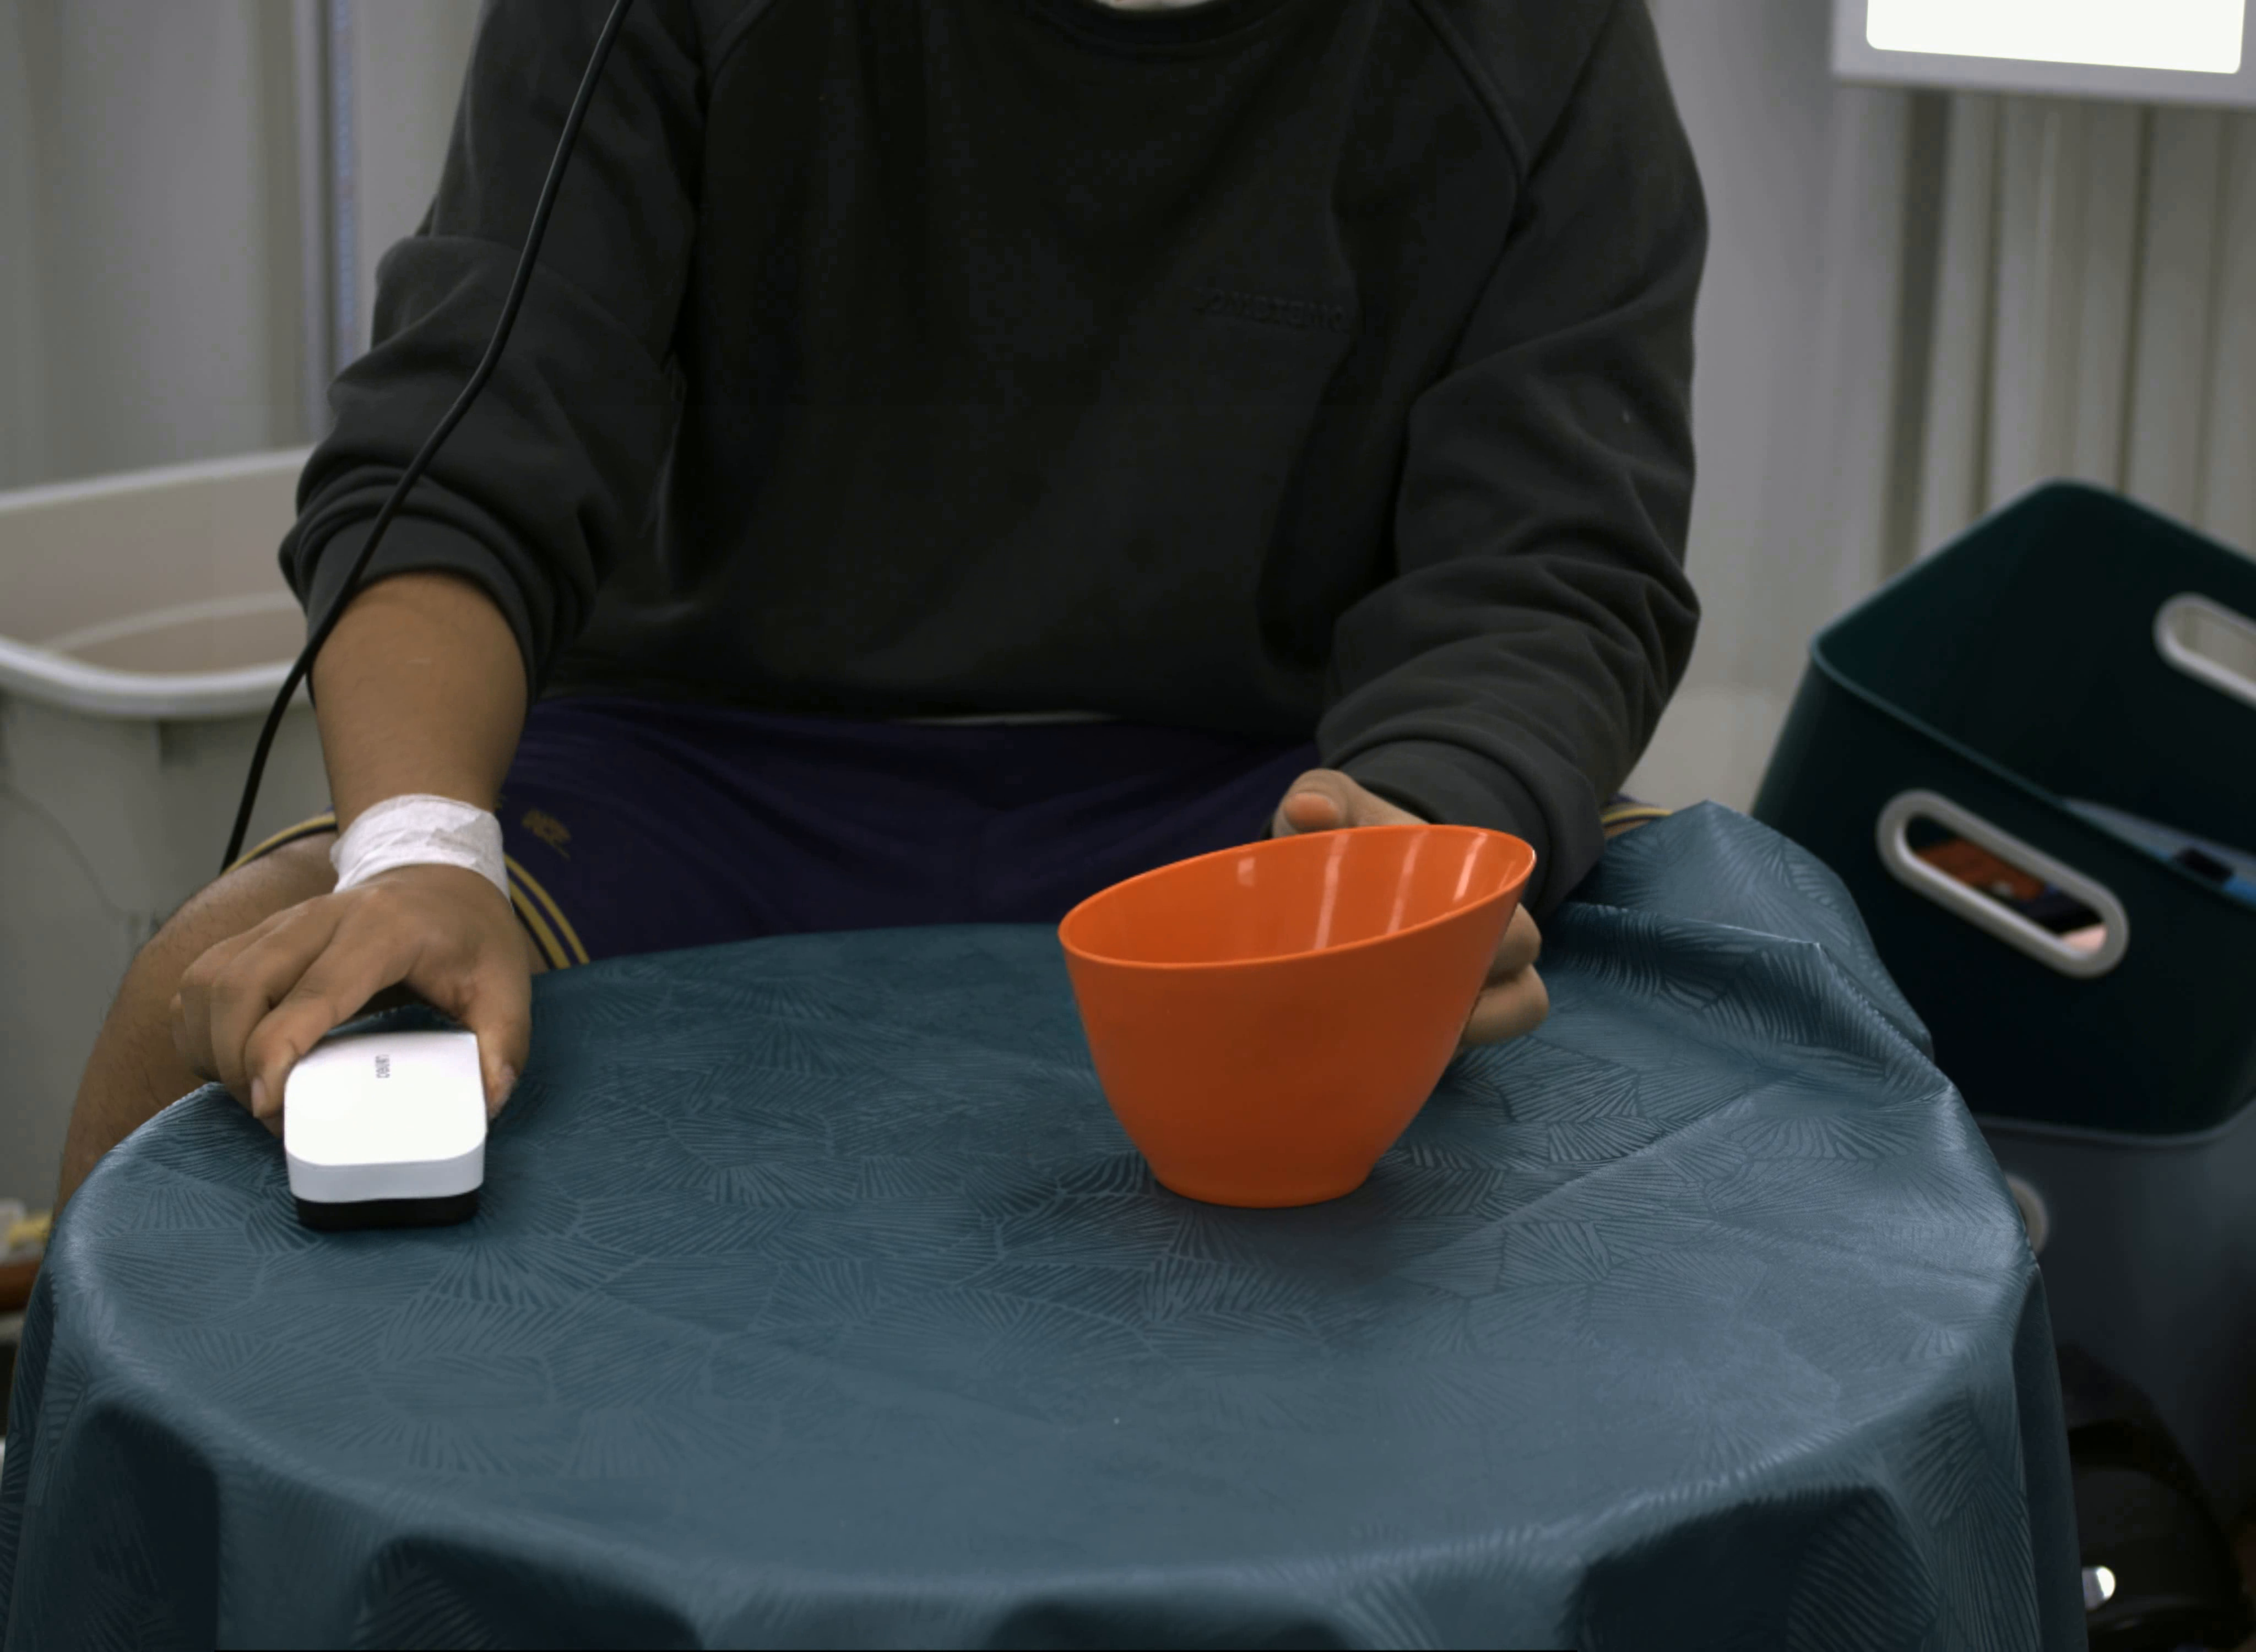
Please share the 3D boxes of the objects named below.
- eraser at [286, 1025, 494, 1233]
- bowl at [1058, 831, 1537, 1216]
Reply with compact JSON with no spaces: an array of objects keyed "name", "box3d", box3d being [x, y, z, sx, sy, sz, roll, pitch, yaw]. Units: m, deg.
[{"name":"eraser","box3d":[-0.229,0.089,1.636,0.063,0.035,0.130,-1,17,-7]},{"name":"bowl","box3d":[0.052,0.061,1.622,0.147,0.105,0.147,0,16,1]}]
